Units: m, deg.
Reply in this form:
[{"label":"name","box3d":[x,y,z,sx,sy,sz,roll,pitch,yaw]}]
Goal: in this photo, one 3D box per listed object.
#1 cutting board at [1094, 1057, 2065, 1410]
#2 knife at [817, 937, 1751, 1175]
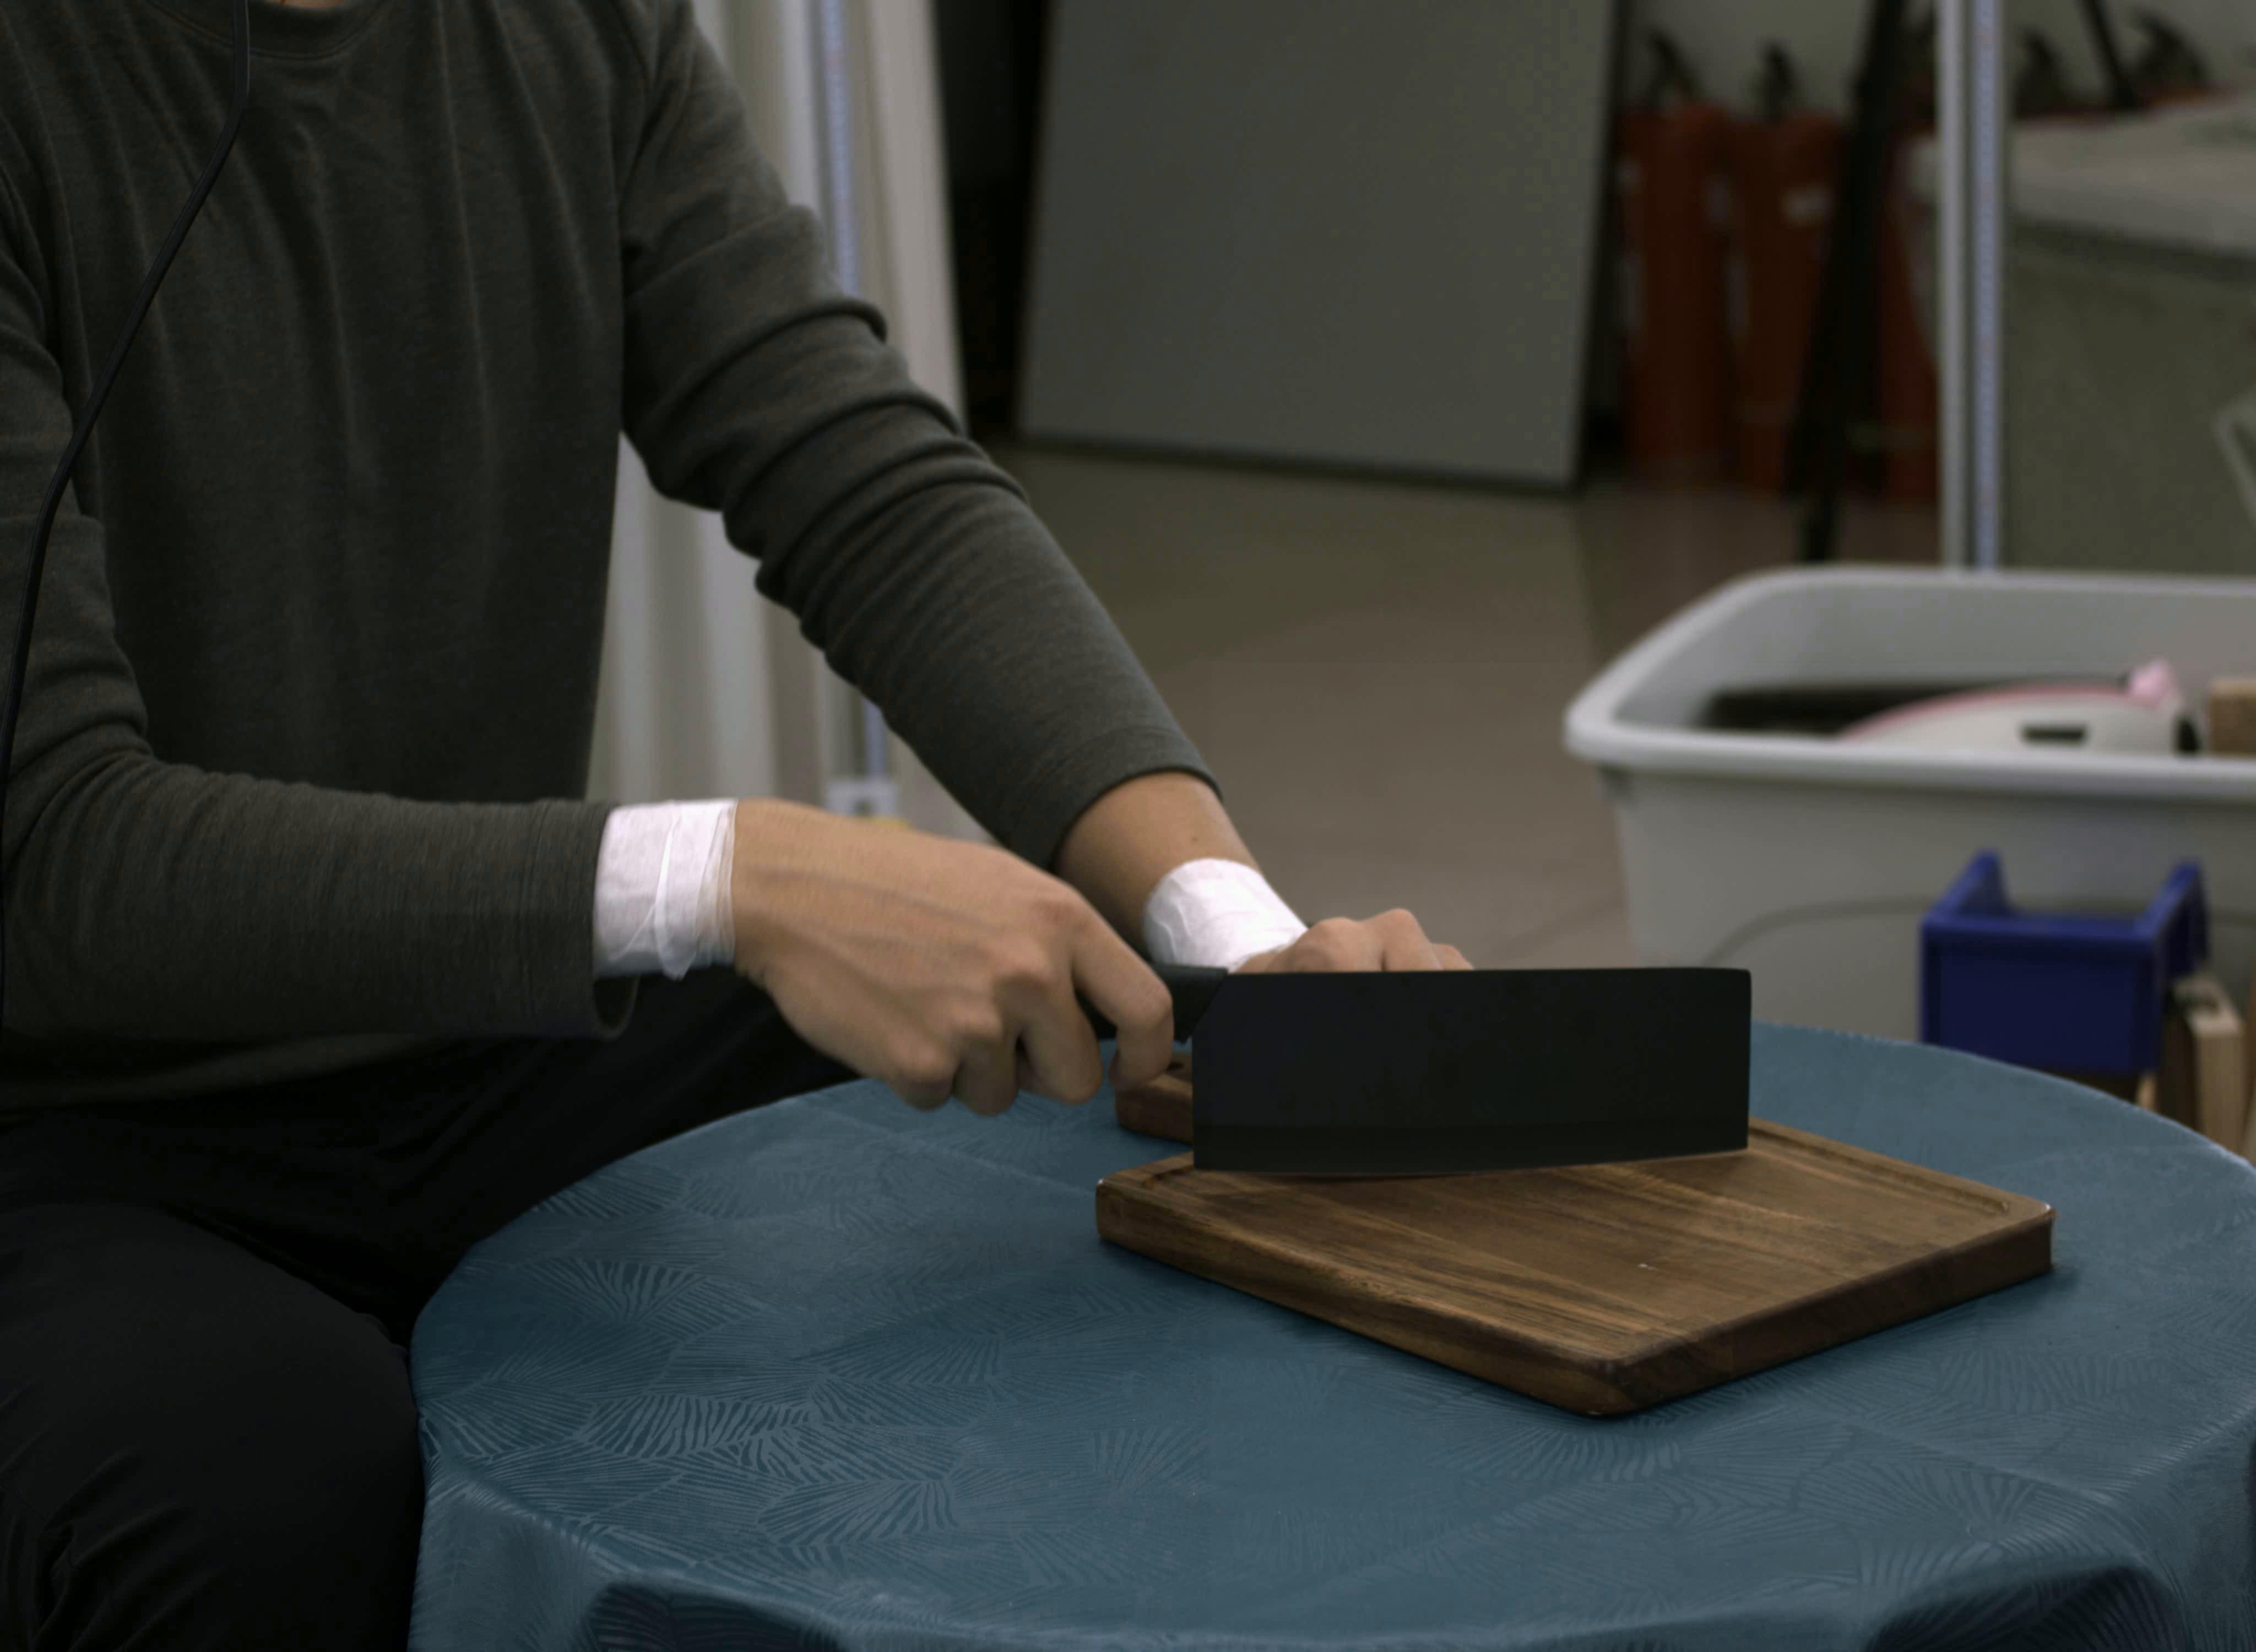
[{"label":"cutting board","box3d":[0.108,0.116,1.720,0.196,0.023,0.356,-13,16,-35]},{"label":"knife","box3d":[0.051,0.071,1.710,0.298,0.082,0.021,4,6,-2]}]
